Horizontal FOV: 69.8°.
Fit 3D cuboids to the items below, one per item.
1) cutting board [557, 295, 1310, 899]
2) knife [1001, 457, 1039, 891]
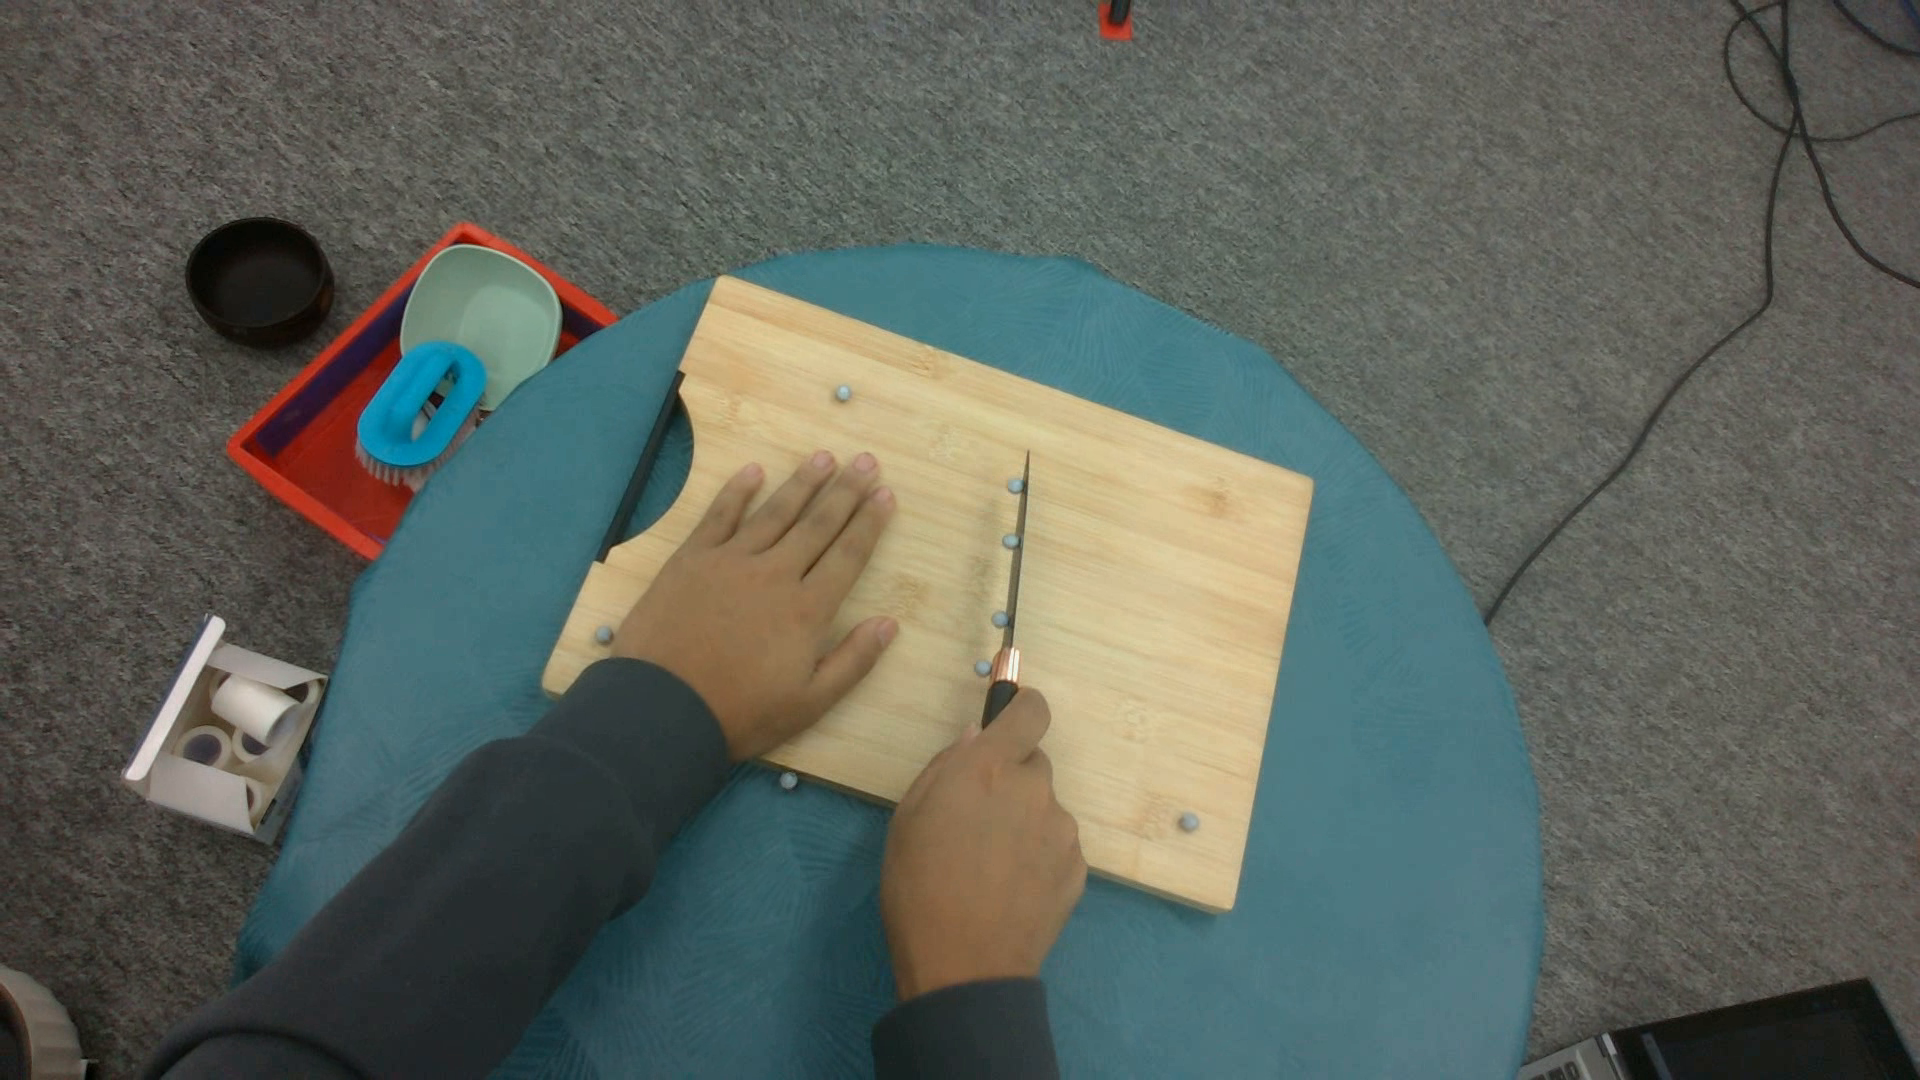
[{"bbox_3d":[0.001,0.022,0.711,0.349,0.023,0.251,14,65,-3],"label":"cutting board"},{"bbox_3d":[0.030,0.057,0.668,0.017,0.026,0.226,6,65,-7],"label":"knife"}]
